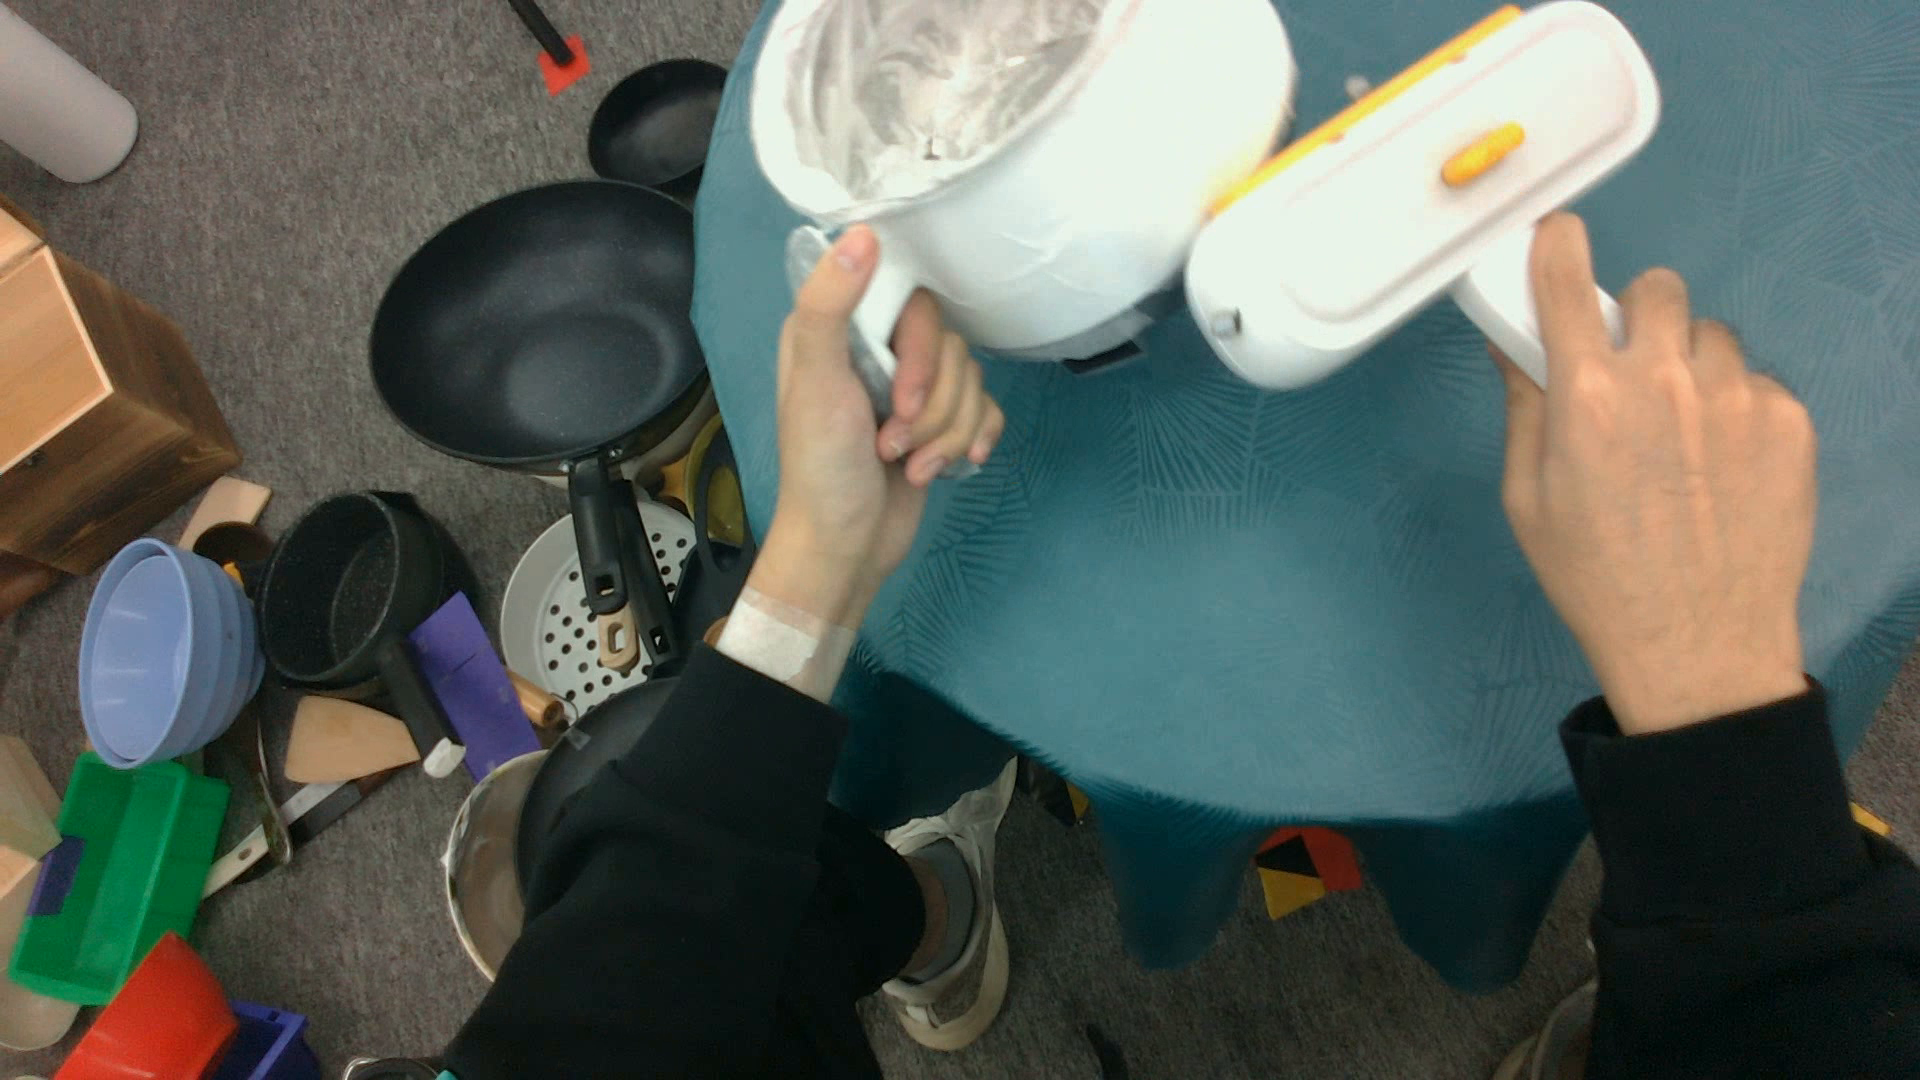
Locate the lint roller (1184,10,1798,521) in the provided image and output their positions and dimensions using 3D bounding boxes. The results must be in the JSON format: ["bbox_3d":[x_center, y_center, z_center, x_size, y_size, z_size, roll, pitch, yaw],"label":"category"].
[{"bbox_3d":[0.205,-0.079,0.486,0.193,0.074,0.192,-38,81,-15],"label":"lint roller"}]

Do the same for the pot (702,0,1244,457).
[{"bbox_3d":[-0.002,-0.154,0.526,0.178,0.136,0.234,16,80,44],"label":"pot"}]
